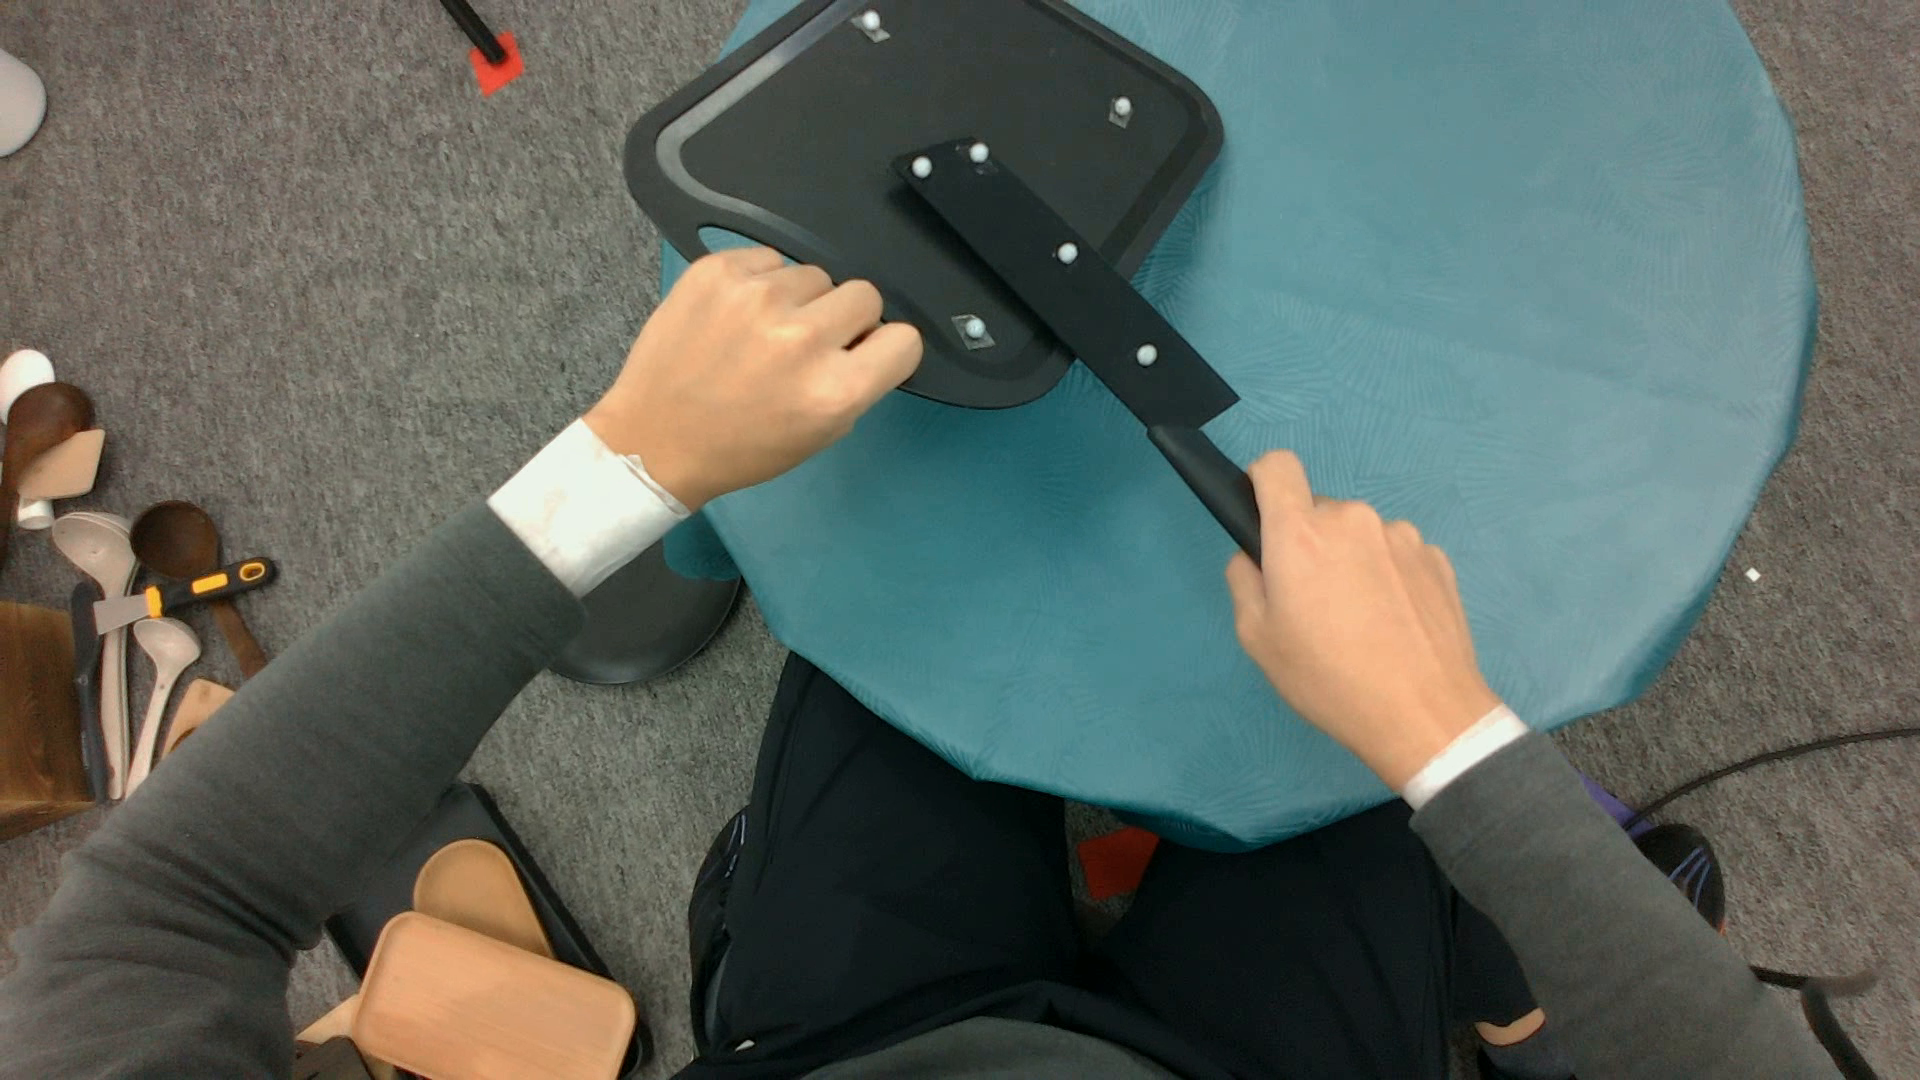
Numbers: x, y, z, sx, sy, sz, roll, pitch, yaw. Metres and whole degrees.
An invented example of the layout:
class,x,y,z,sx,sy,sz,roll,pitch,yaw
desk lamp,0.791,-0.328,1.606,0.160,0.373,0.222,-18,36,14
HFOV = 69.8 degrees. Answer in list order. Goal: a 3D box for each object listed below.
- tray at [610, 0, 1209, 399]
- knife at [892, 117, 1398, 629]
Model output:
class,x,y,z,sx,sy,sz,roll,pitch,yaw
tray,-0.010,-0.188,0.647,0.211,0.010,0.327,32,49,3
knife,0.083,-0.080,0.608,0.081,0.021,0.302,-26,72,-40
